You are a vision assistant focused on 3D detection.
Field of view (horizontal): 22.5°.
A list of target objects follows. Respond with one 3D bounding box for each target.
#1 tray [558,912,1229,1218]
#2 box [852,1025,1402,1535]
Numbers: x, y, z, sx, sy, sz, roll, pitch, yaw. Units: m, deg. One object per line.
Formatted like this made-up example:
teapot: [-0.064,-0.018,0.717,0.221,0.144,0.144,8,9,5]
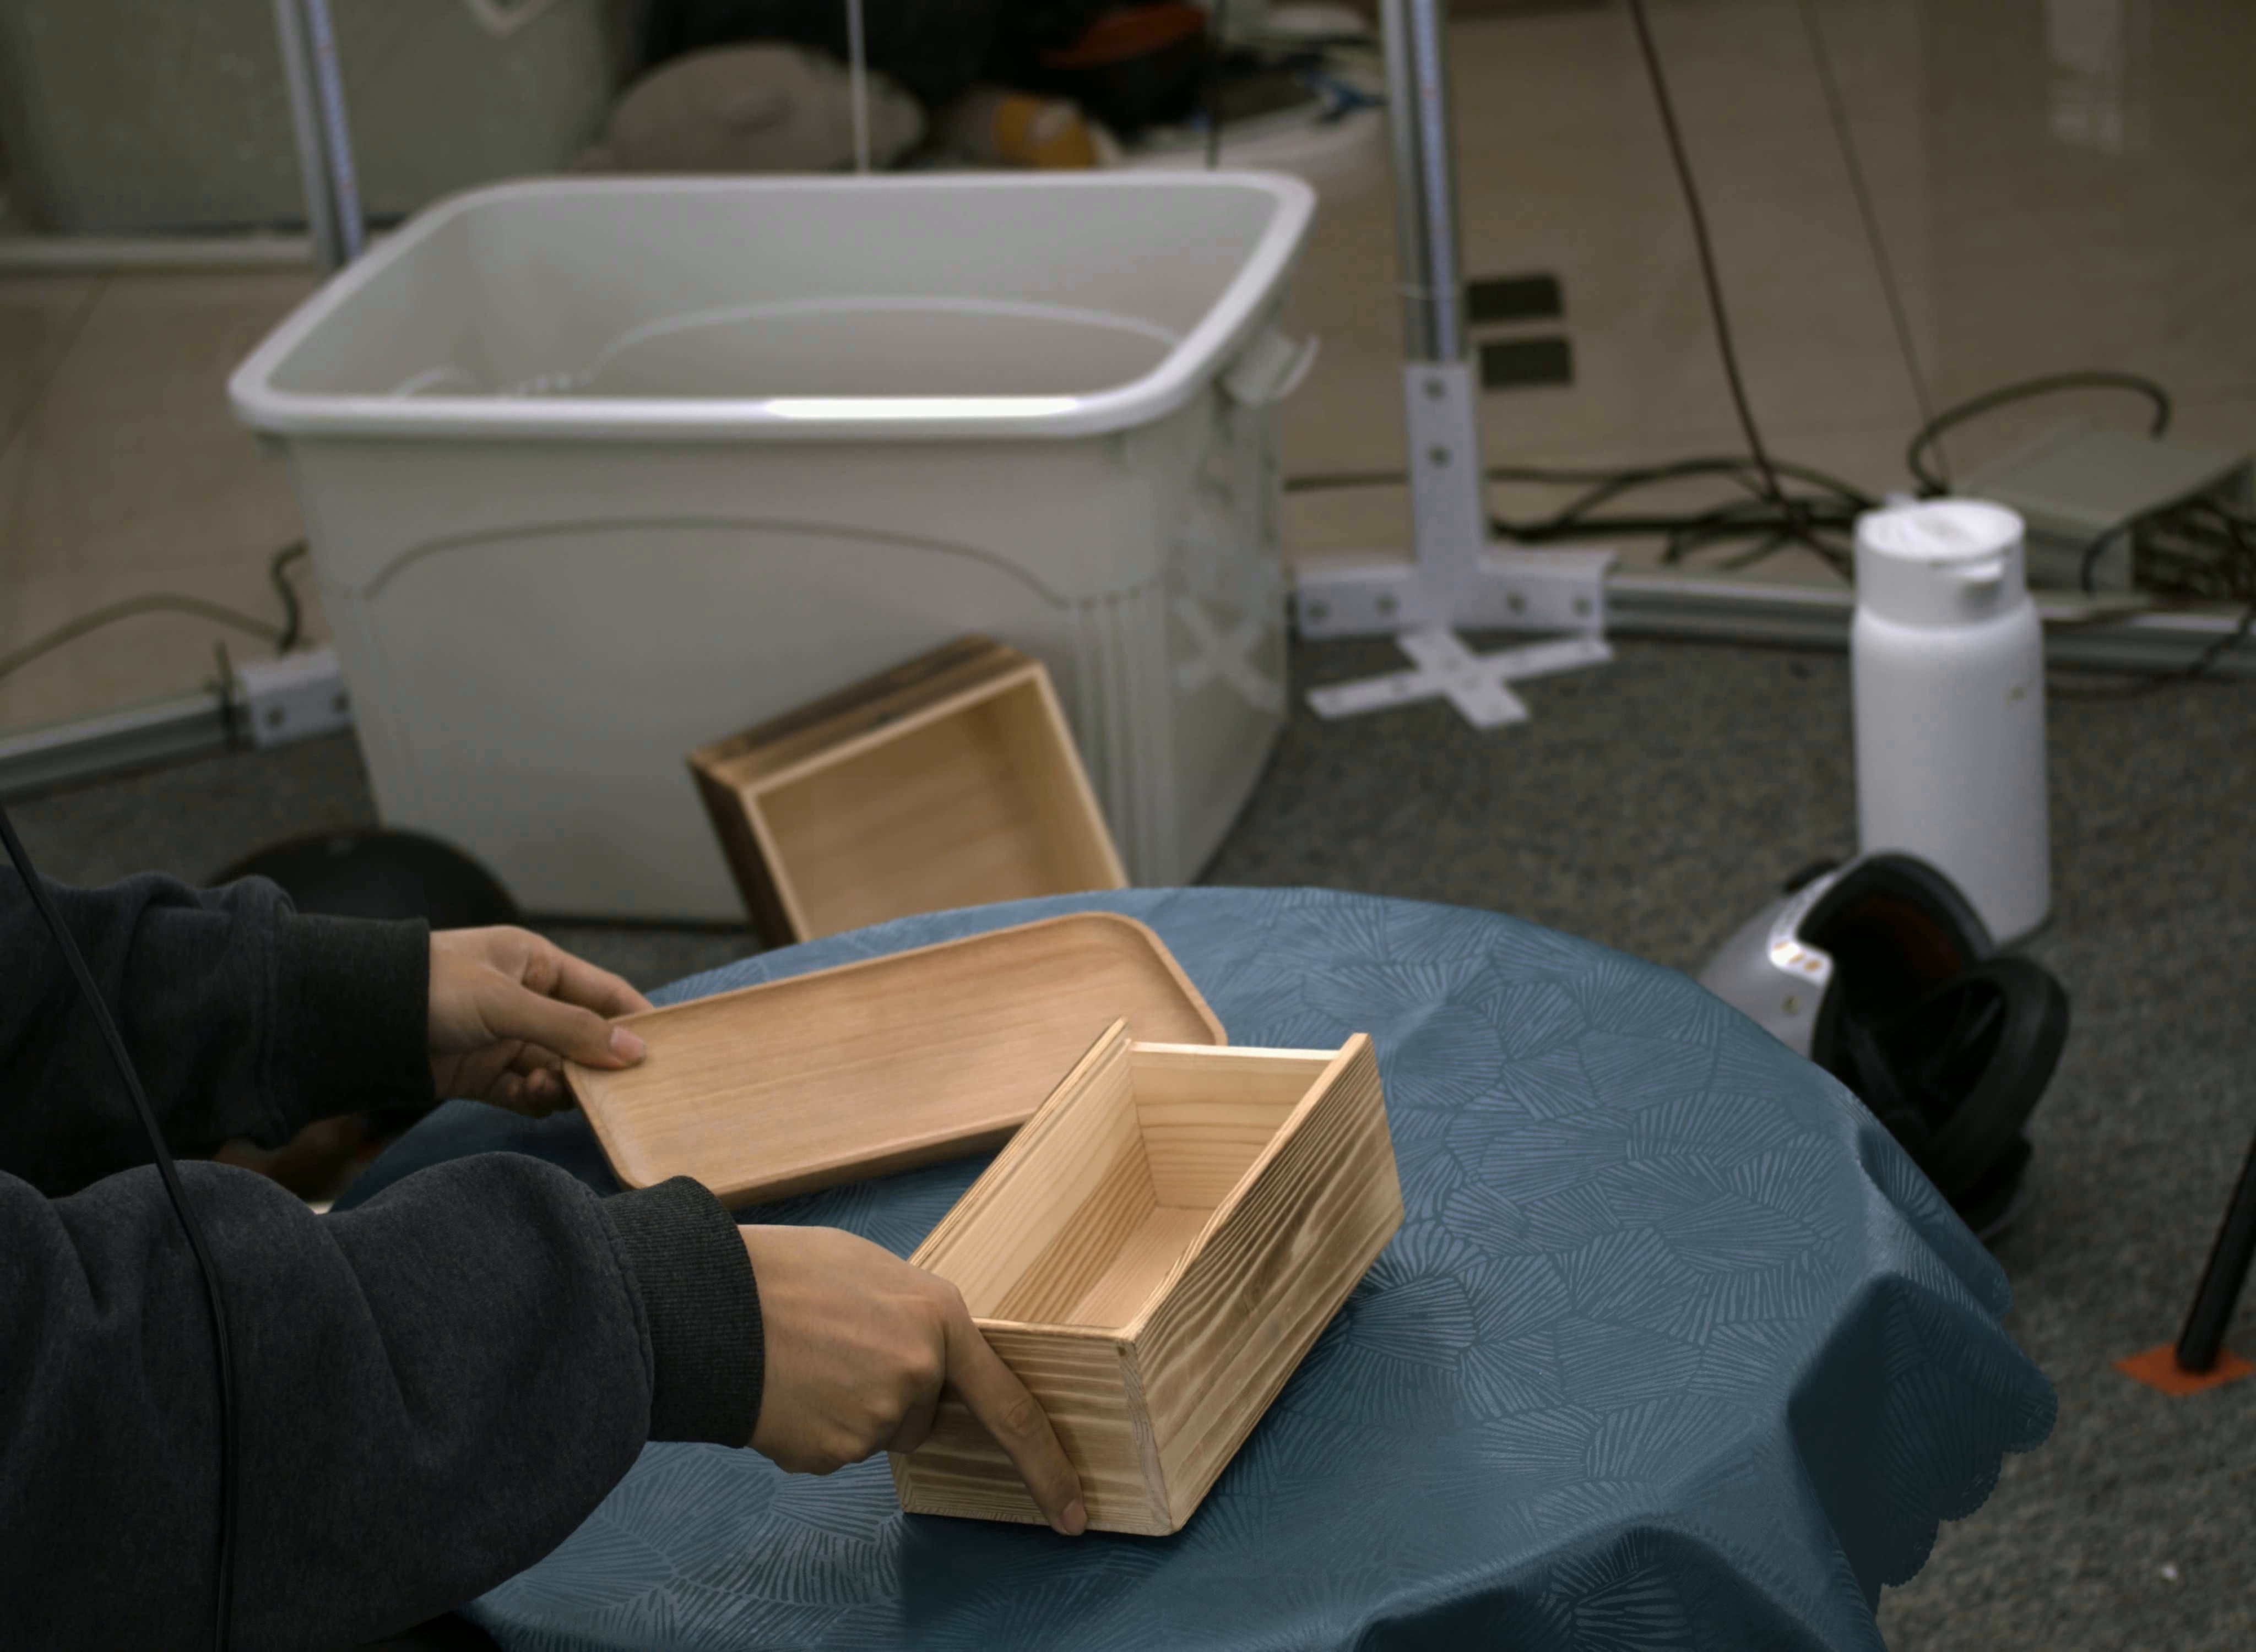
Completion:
tray: [-0.091,0.093,2.216,0.250,0.023,0.128,-13,33,-17]
box: [0.003,0.156,1.997,0.107,0.081,0.208,2,28,27]
